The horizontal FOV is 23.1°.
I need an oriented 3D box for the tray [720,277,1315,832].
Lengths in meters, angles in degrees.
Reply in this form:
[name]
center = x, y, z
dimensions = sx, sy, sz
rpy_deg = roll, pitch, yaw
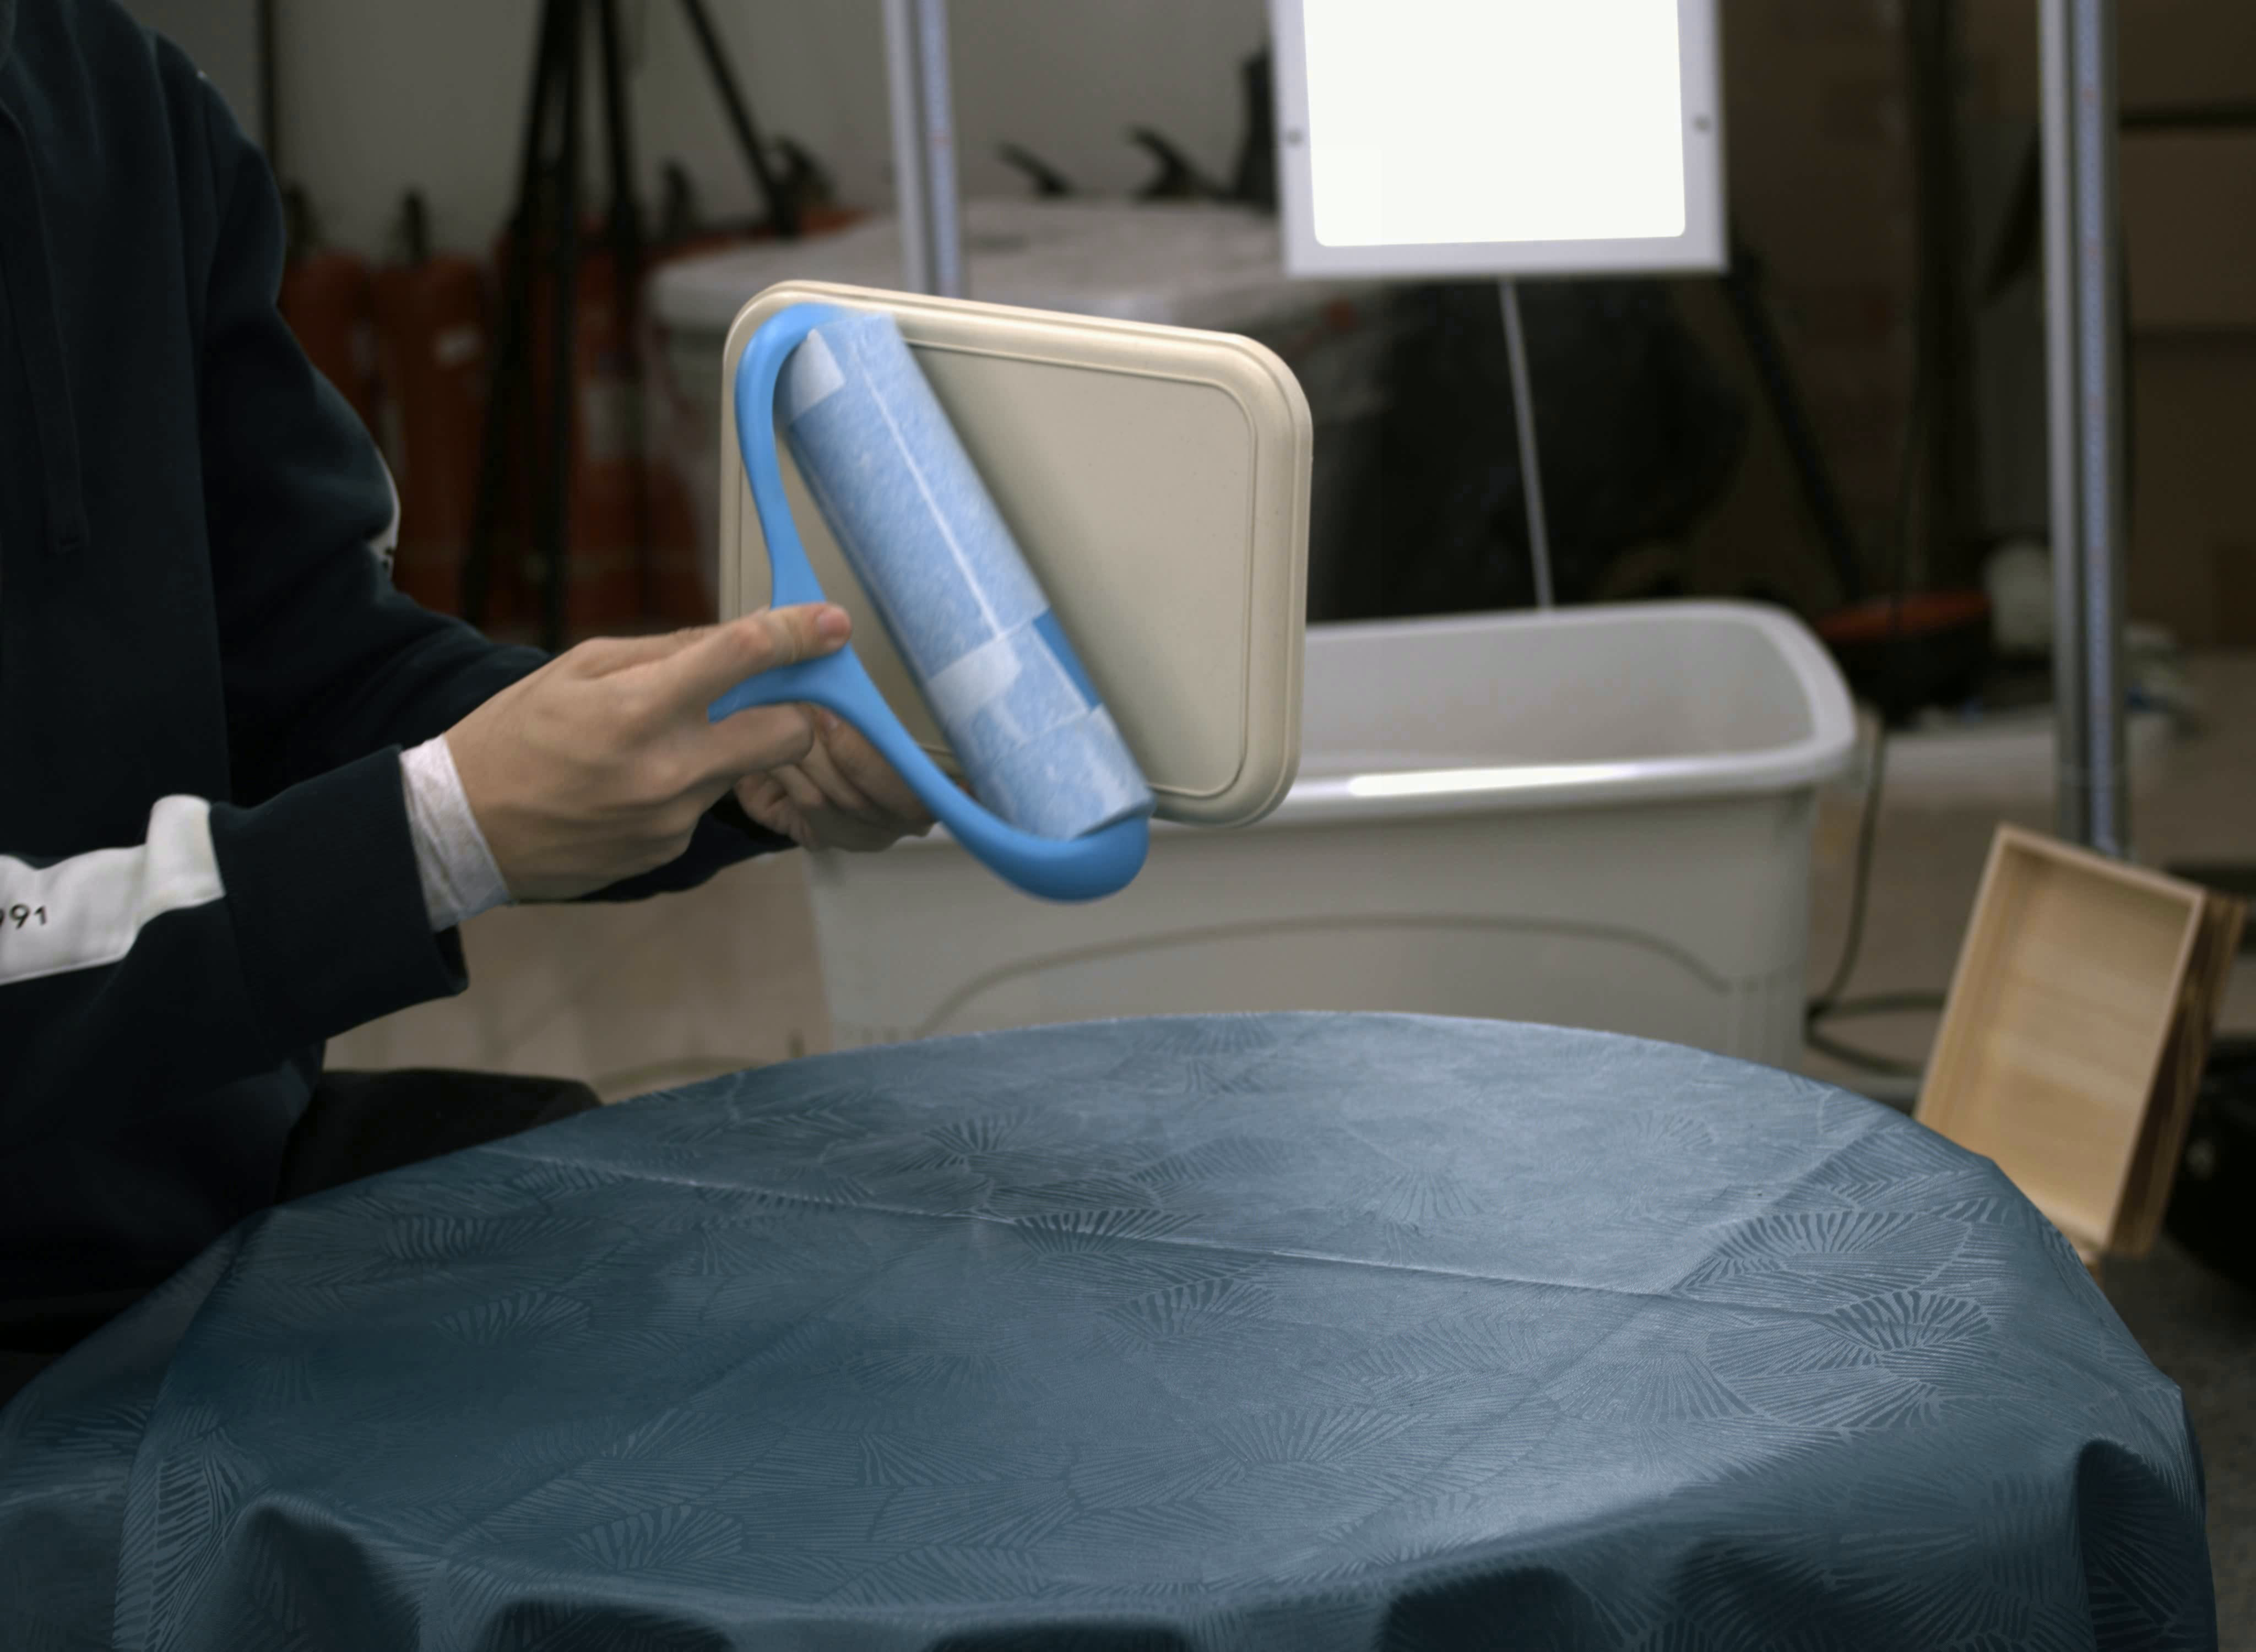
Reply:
[tray]
center = -0.044, -0.093, 1.883
dimensions = 0.244, 0.172, 0.017
rpy_deg = 10, 16, 33

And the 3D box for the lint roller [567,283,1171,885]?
[lint roller]
center = -0.106, -0.053, 1.843
dimensions = 0.179, 0.230, 0.068
rpy_deg = -31, -7, -8
